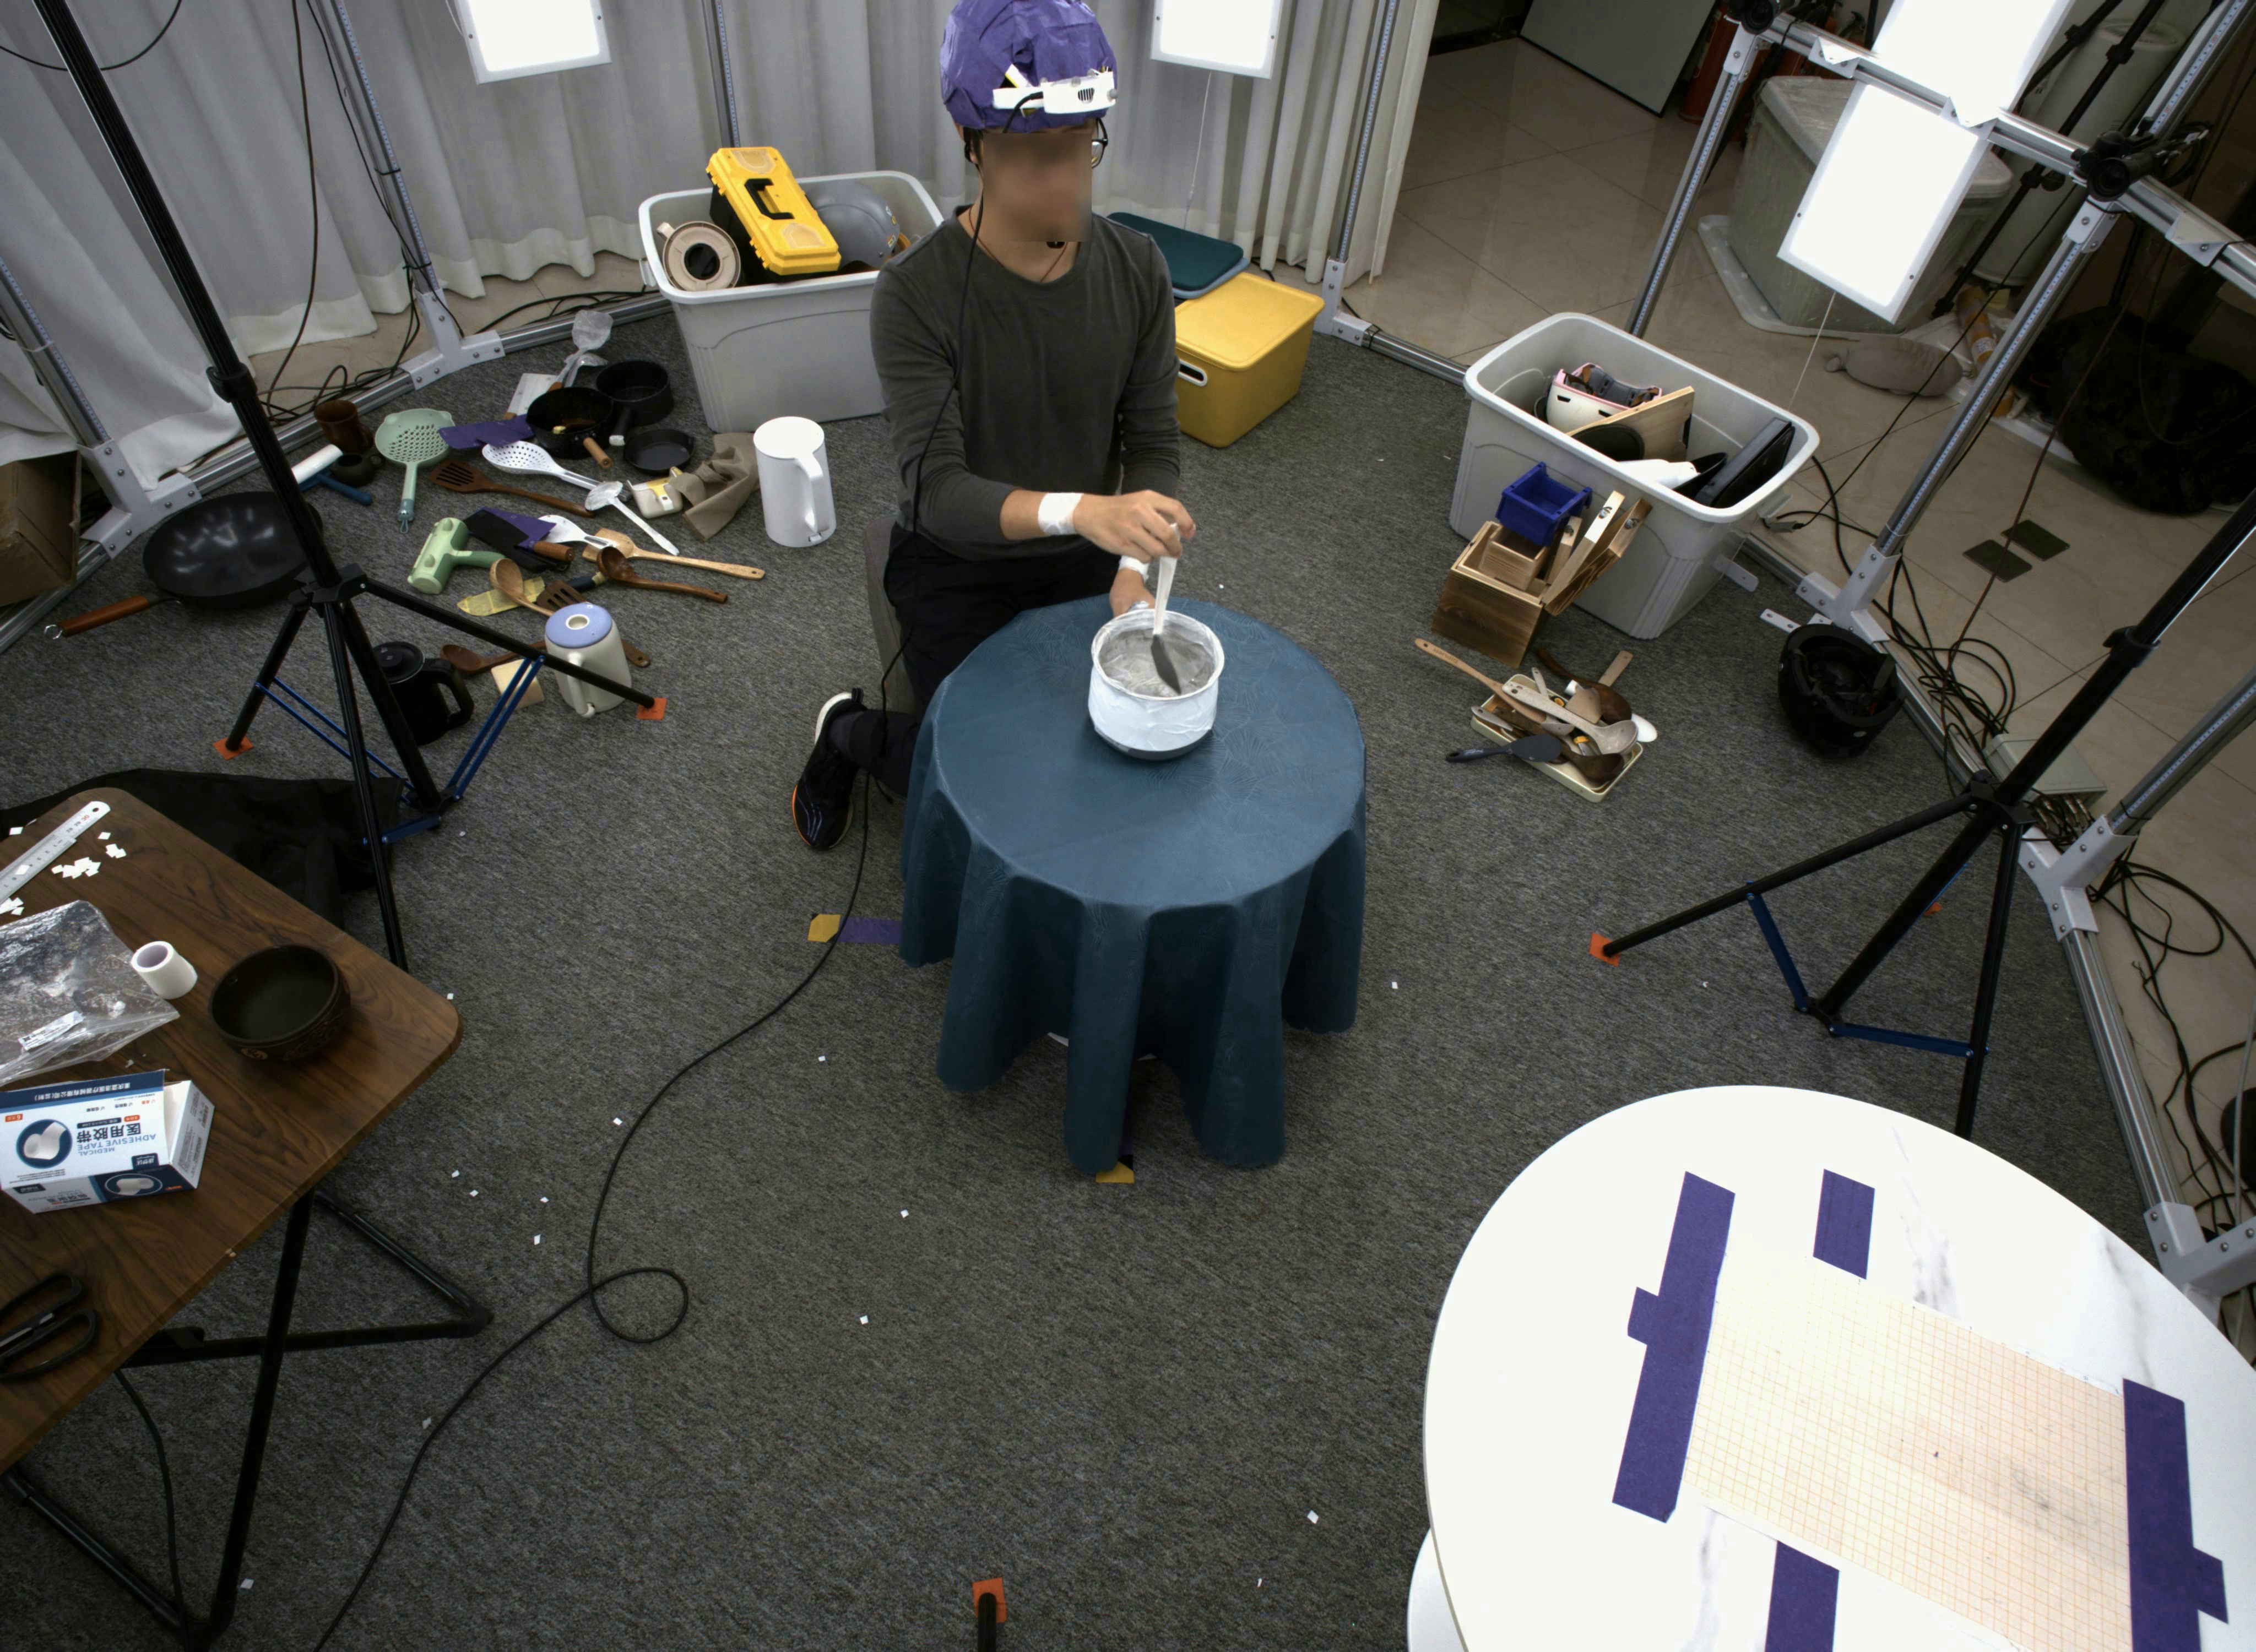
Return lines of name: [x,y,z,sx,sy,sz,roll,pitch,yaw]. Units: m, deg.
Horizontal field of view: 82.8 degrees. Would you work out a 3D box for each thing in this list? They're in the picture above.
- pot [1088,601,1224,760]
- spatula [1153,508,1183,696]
pot: [0.029,-0.209,1.763,0.178,0.133,0.239,-7,50,-11]
spatula: [0.050,-0.279,1.647,0.032,0.280,0.060,-28,53,-22]
